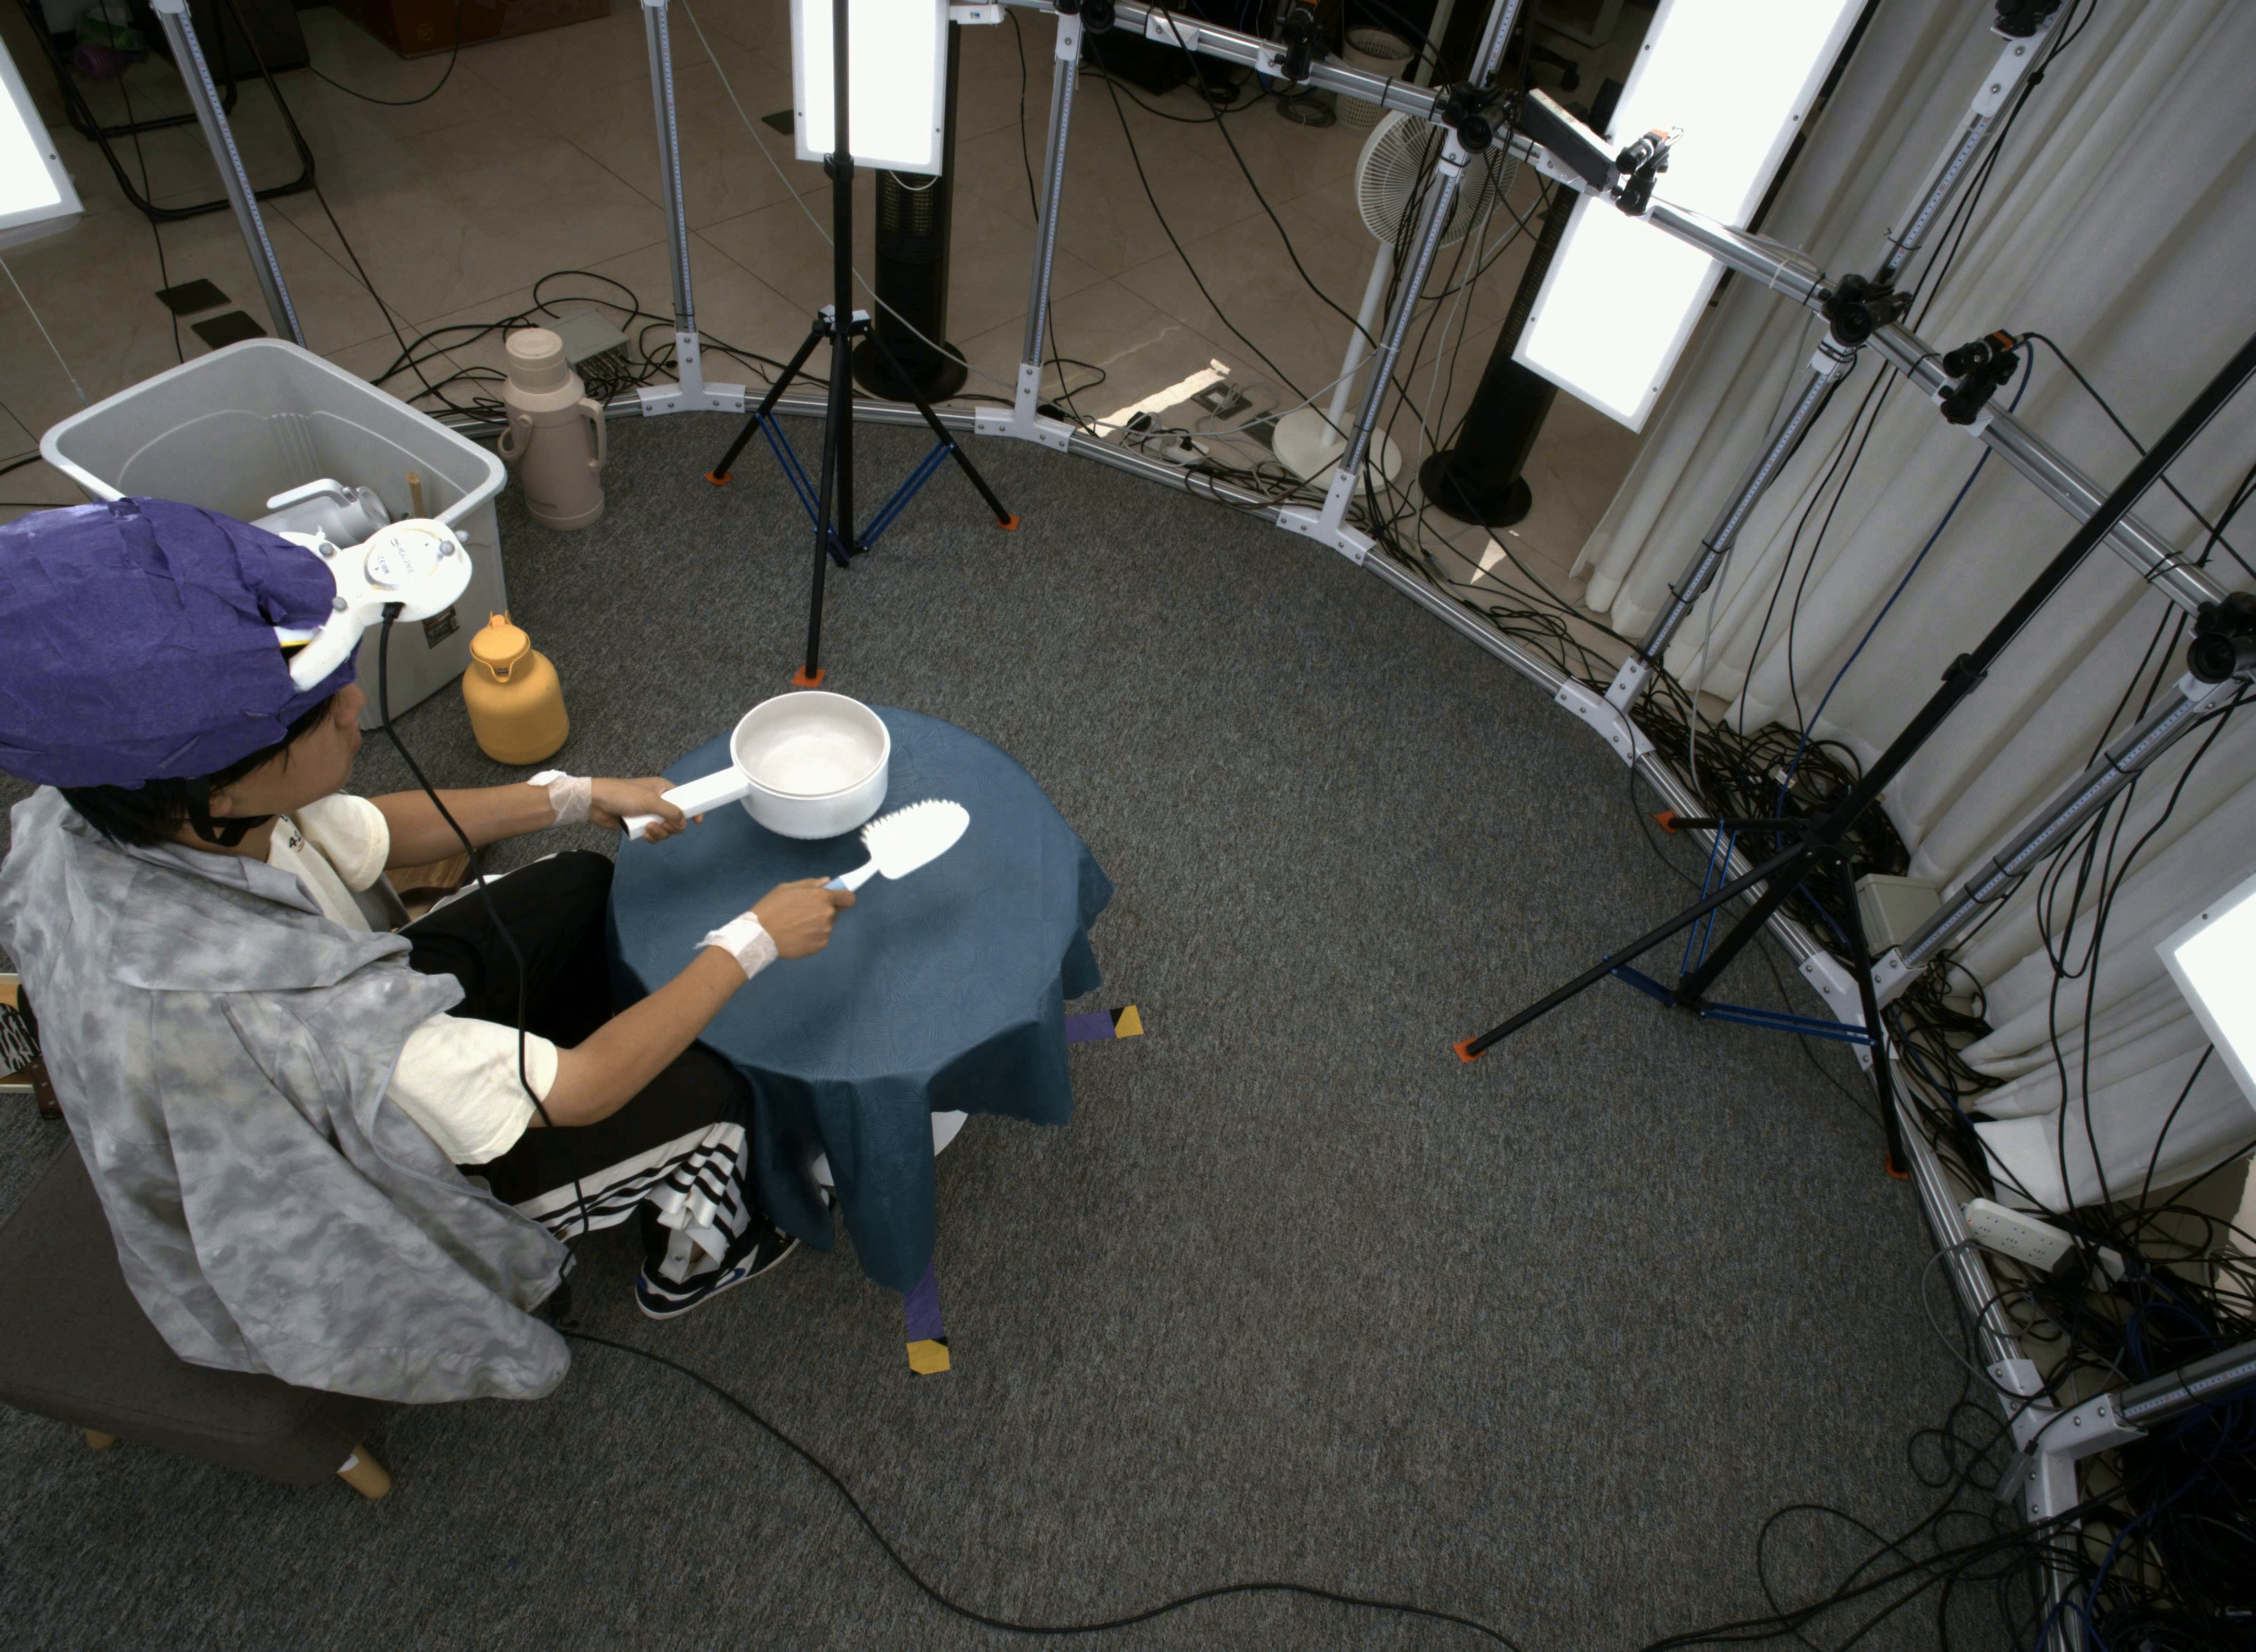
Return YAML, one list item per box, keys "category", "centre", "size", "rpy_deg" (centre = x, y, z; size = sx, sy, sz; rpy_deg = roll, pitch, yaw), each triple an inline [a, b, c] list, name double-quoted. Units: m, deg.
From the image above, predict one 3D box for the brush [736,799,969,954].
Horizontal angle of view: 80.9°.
- category: "brush"
  centre: [-0.337, 0.053, 1.567]
  size: [0.326, 0.085, 0.082]
  rpy_deg: [-32, 74, -27]

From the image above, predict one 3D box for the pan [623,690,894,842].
- category: "pan"
  centre: [-0.464, -0.044, 1.646]
  size: [0.356, 0.105, 0.195]
  rpy_deg: [-27, 57, -31]
